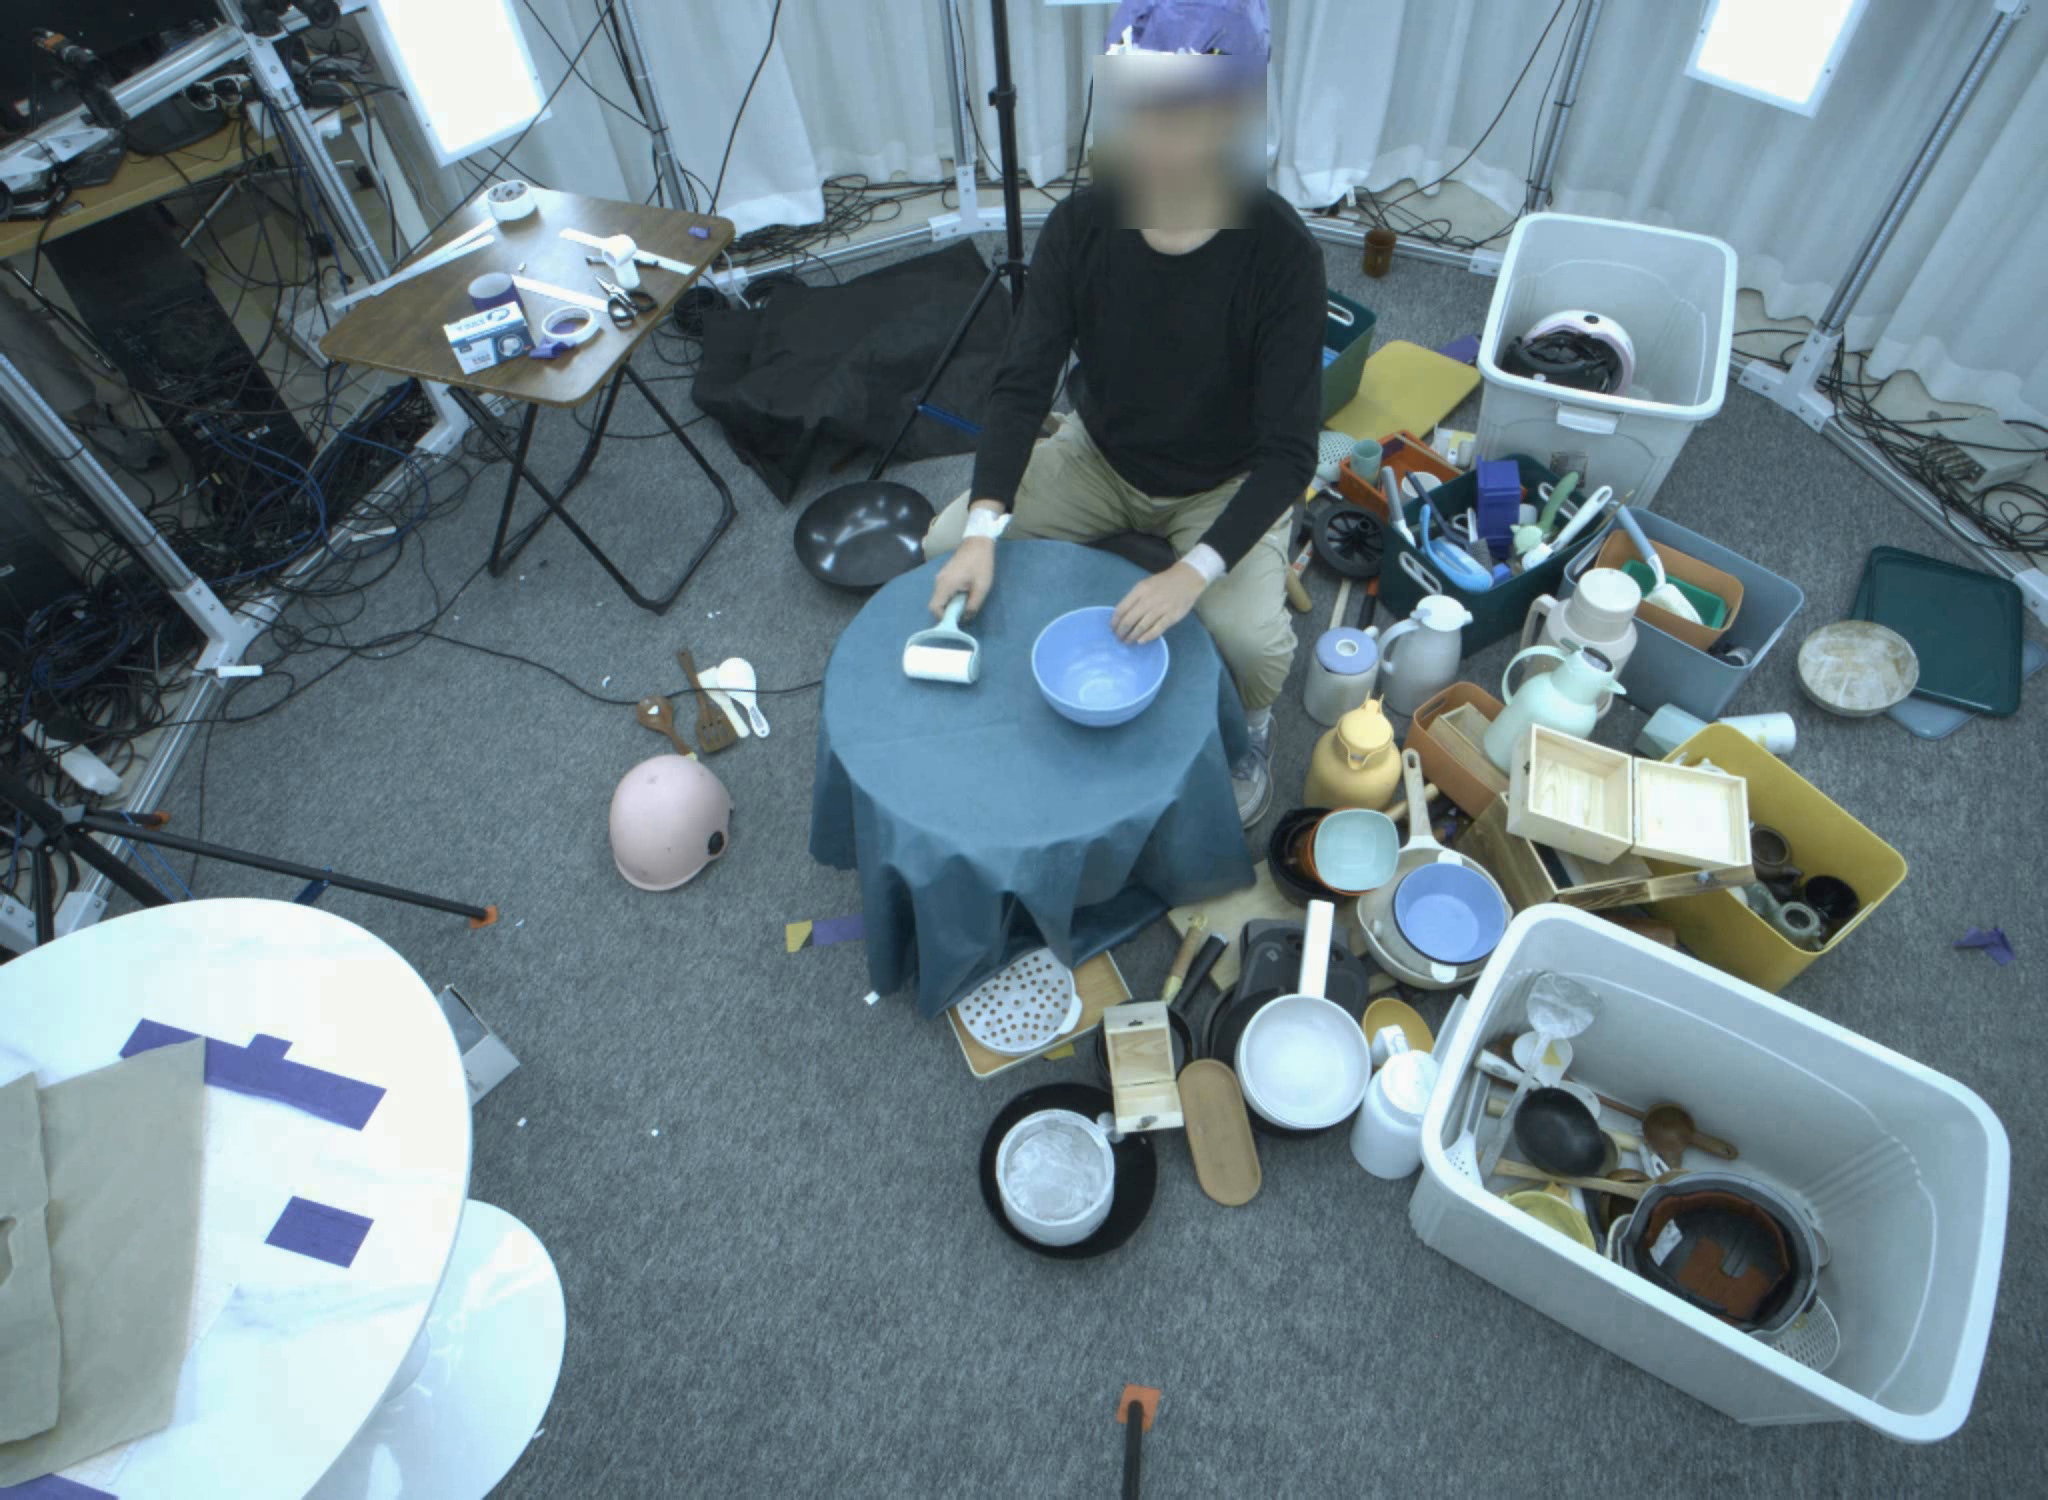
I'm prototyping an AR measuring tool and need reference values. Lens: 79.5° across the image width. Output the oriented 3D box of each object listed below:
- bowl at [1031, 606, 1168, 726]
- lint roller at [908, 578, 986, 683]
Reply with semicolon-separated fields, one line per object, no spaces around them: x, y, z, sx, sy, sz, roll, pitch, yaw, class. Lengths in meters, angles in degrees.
0.111;-0.108;1.801;0.196;0.096;0.194;-1;54;3;bowl
-0.103;-0.191;1.879;0.115;0.049;0.196;6;63;13;lint roller
